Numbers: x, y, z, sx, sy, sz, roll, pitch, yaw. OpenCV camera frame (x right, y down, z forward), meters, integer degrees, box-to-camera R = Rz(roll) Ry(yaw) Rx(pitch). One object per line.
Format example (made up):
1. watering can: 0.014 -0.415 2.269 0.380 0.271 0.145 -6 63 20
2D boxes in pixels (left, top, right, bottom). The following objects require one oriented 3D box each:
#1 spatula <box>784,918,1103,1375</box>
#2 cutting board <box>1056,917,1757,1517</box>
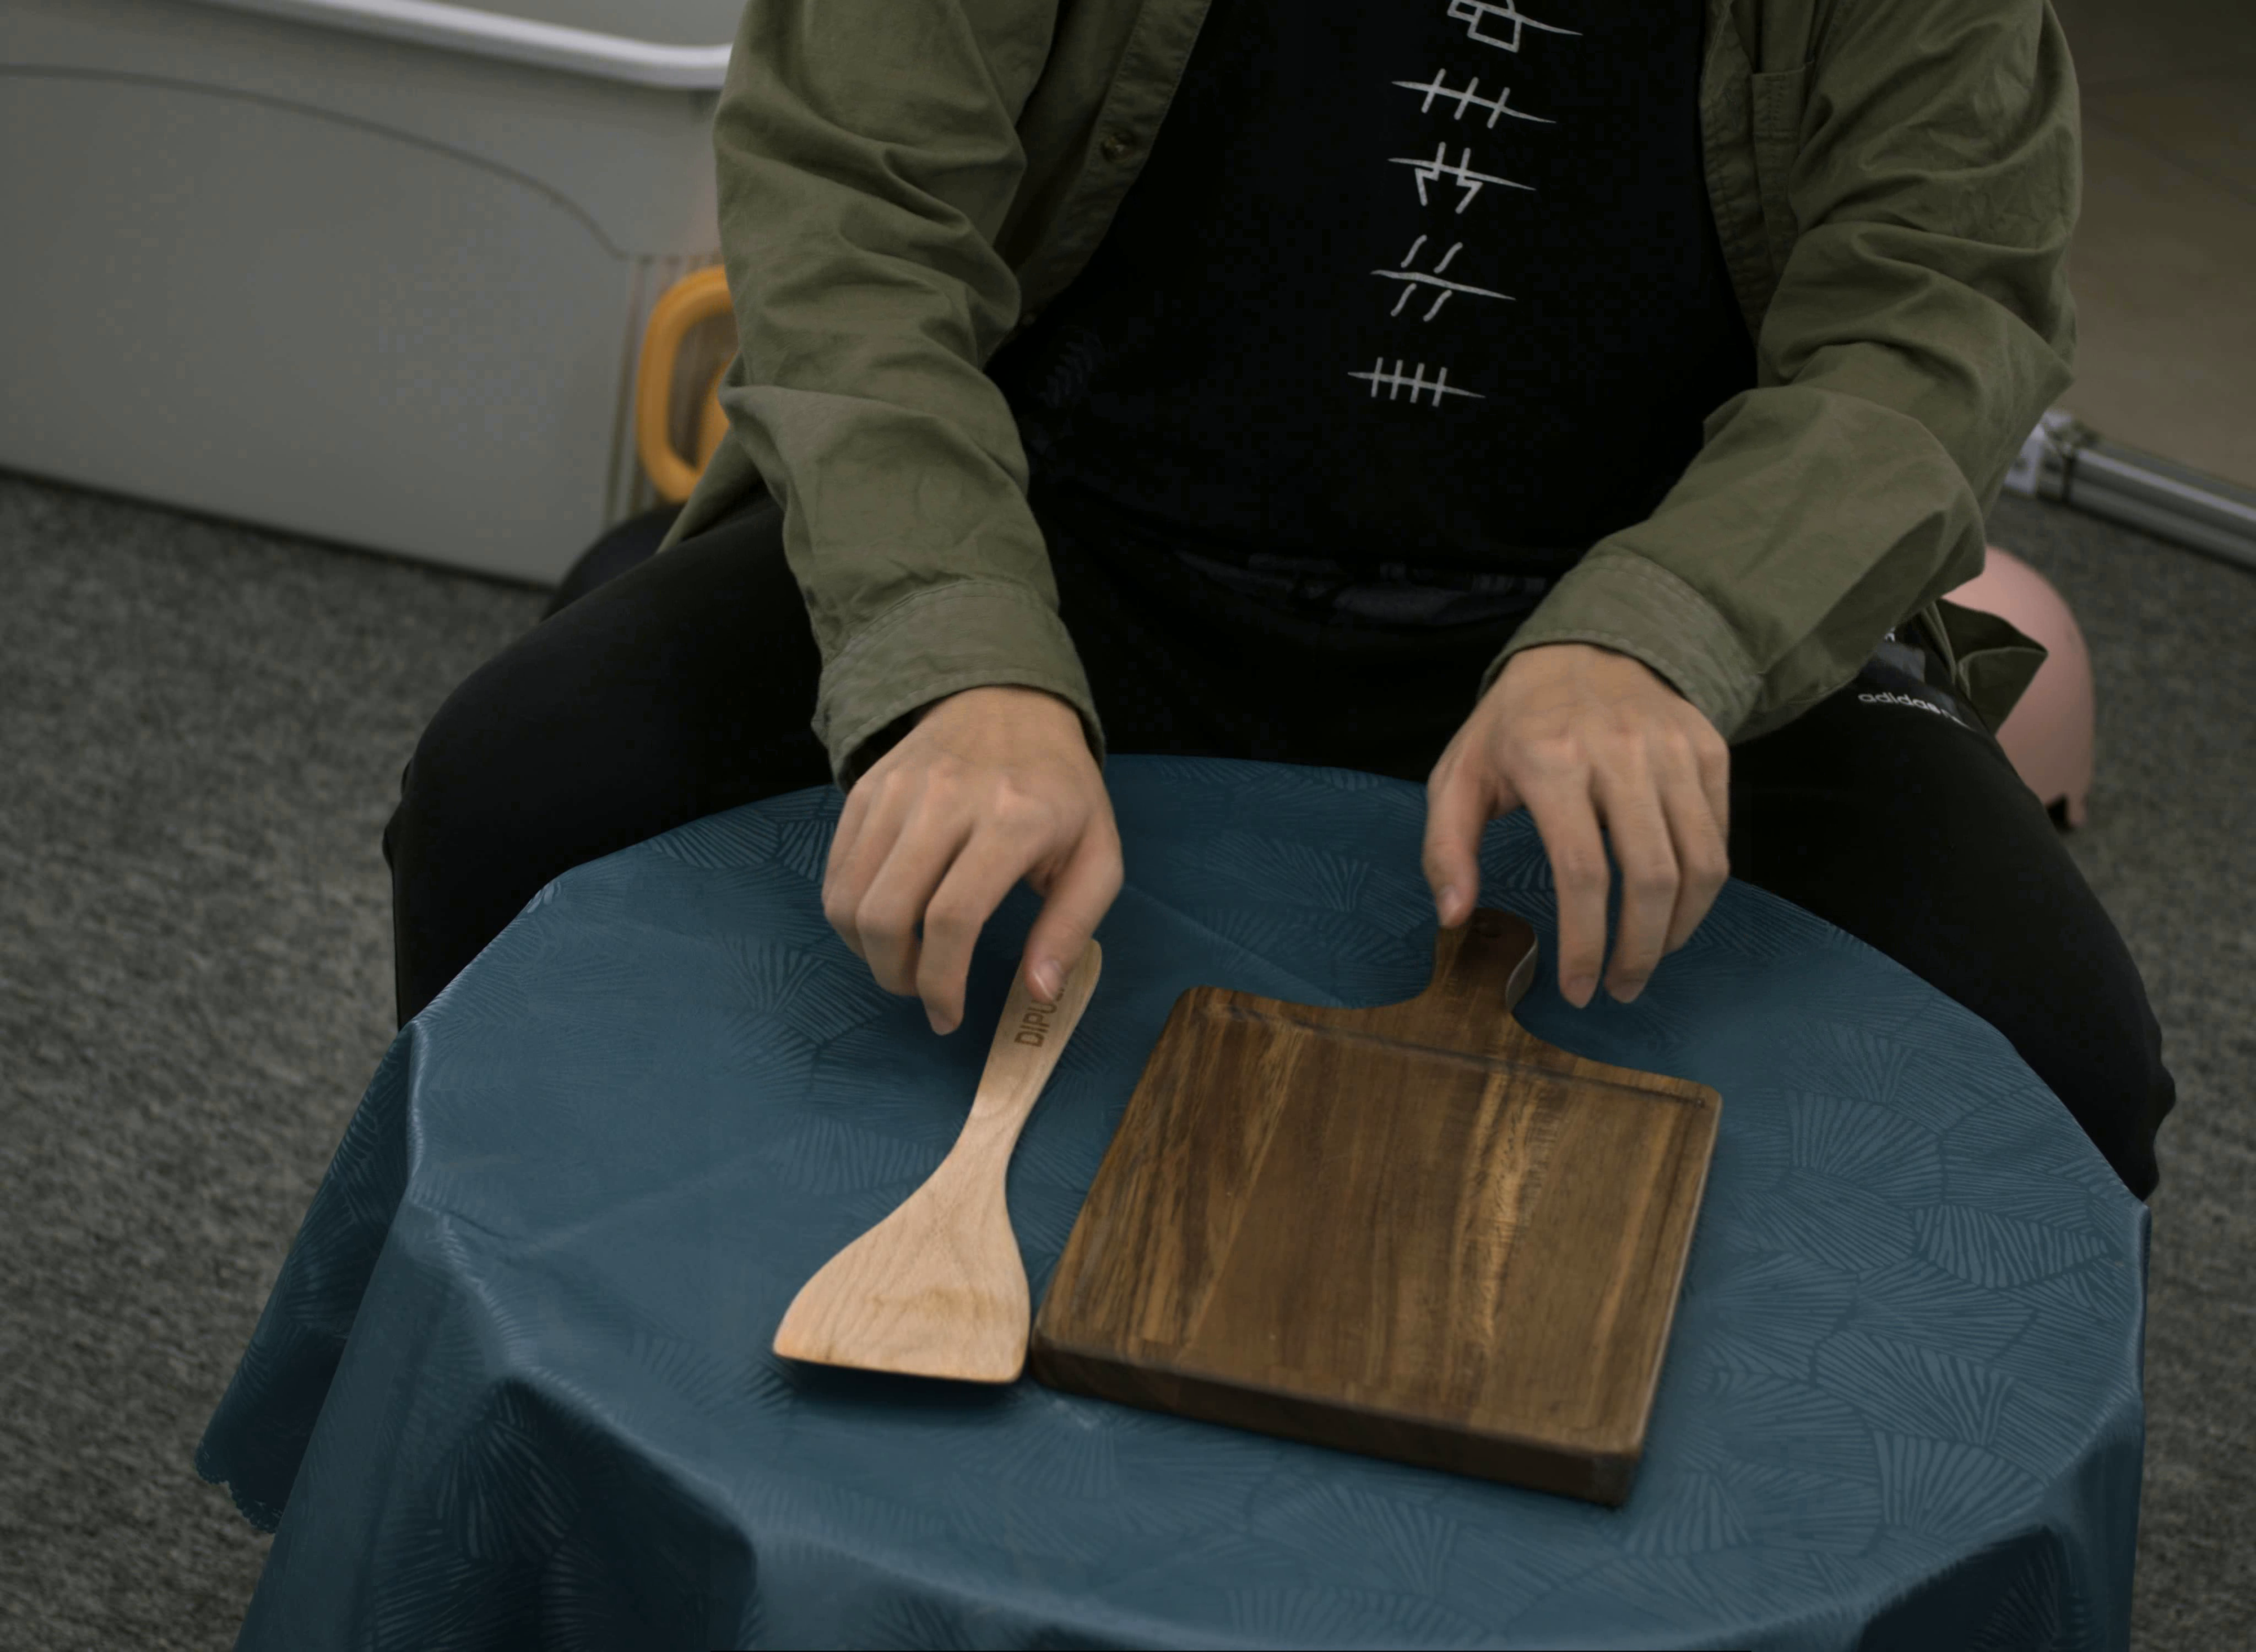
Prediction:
1. spatula: -0.046 0.104 1.809 0.080 0.016 0.329 10 27 6
2. cutting board: 0.109 0.117 1.813 0.201 0.023 0.353 11 27 10
